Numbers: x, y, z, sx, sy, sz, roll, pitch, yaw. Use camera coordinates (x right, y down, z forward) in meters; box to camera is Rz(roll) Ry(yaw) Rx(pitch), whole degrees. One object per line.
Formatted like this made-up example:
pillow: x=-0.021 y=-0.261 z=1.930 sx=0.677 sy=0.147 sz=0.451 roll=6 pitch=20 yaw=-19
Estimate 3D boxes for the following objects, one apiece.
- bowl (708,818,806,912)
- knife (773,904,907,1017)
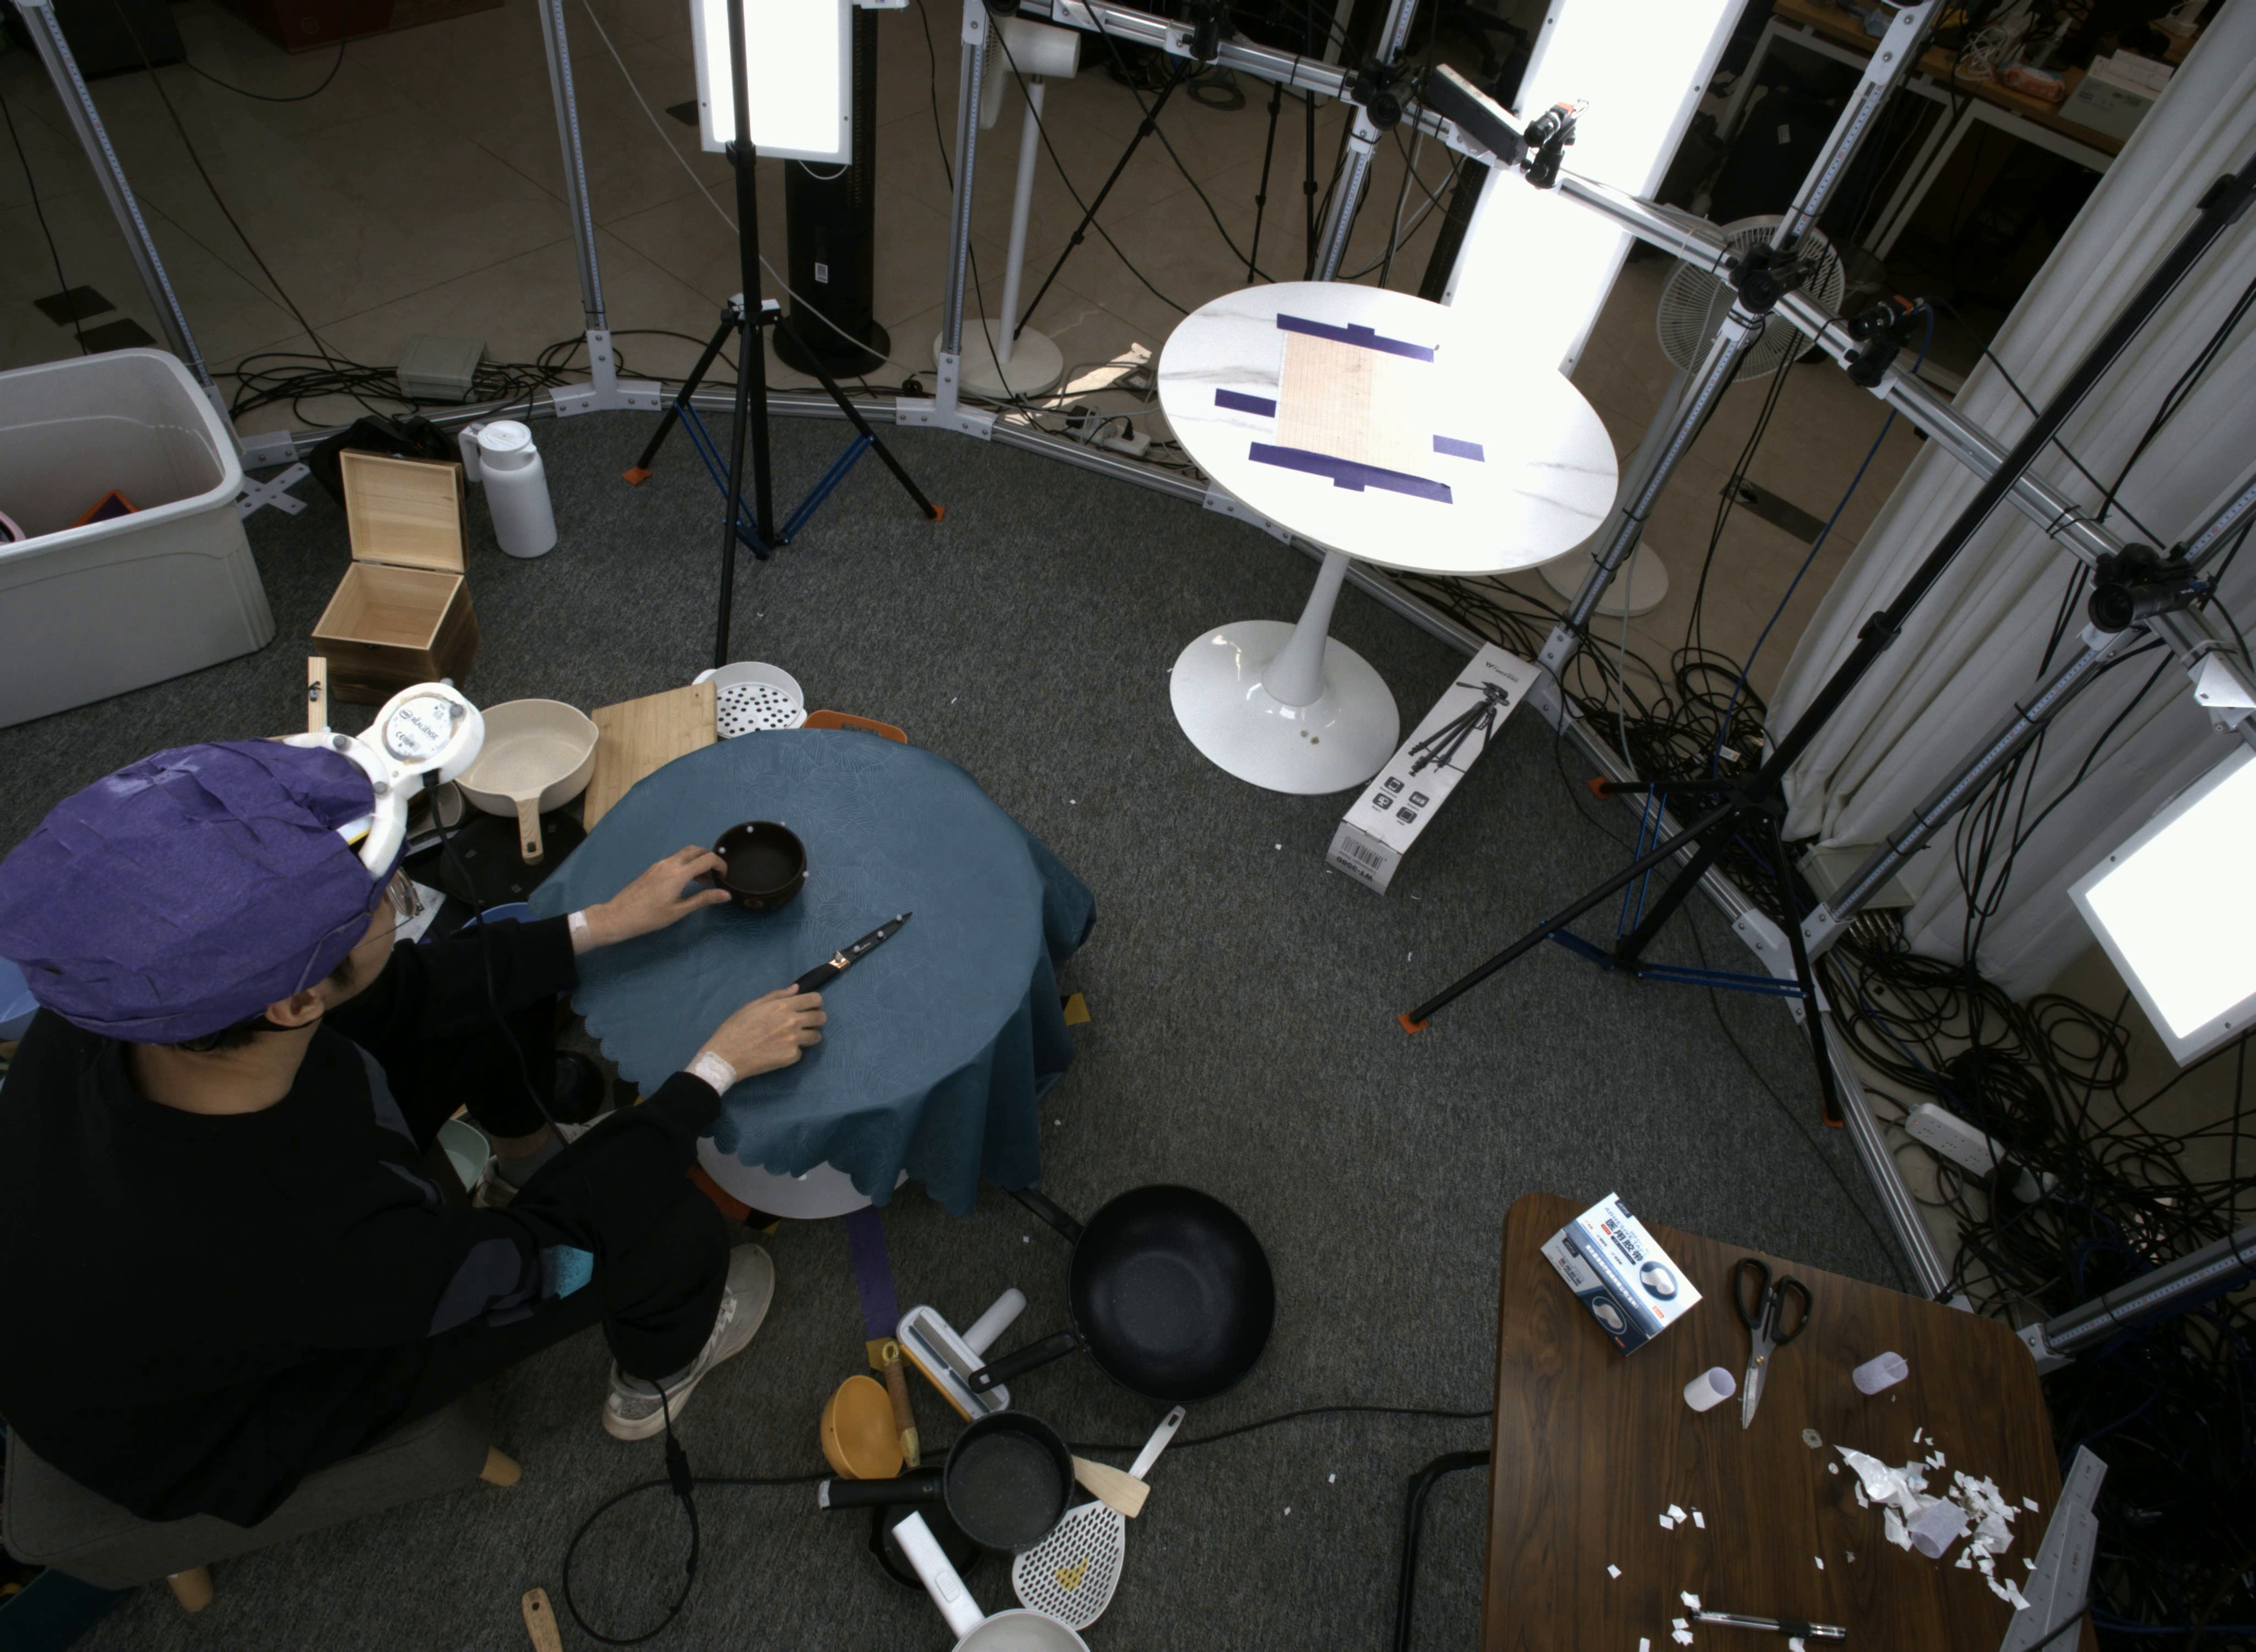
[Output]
bowl: x=-0.460 y=0.055 z=1.614 sx=0.117 sy=0.071 sz=0.116 roll=6 pitch=53 yaw=-7
knife: x=-0.351 y=0.161 z=1.606 sx=0.025 sy=0.018 sz=0.226 roll=33 pitch=51 yaw=22
